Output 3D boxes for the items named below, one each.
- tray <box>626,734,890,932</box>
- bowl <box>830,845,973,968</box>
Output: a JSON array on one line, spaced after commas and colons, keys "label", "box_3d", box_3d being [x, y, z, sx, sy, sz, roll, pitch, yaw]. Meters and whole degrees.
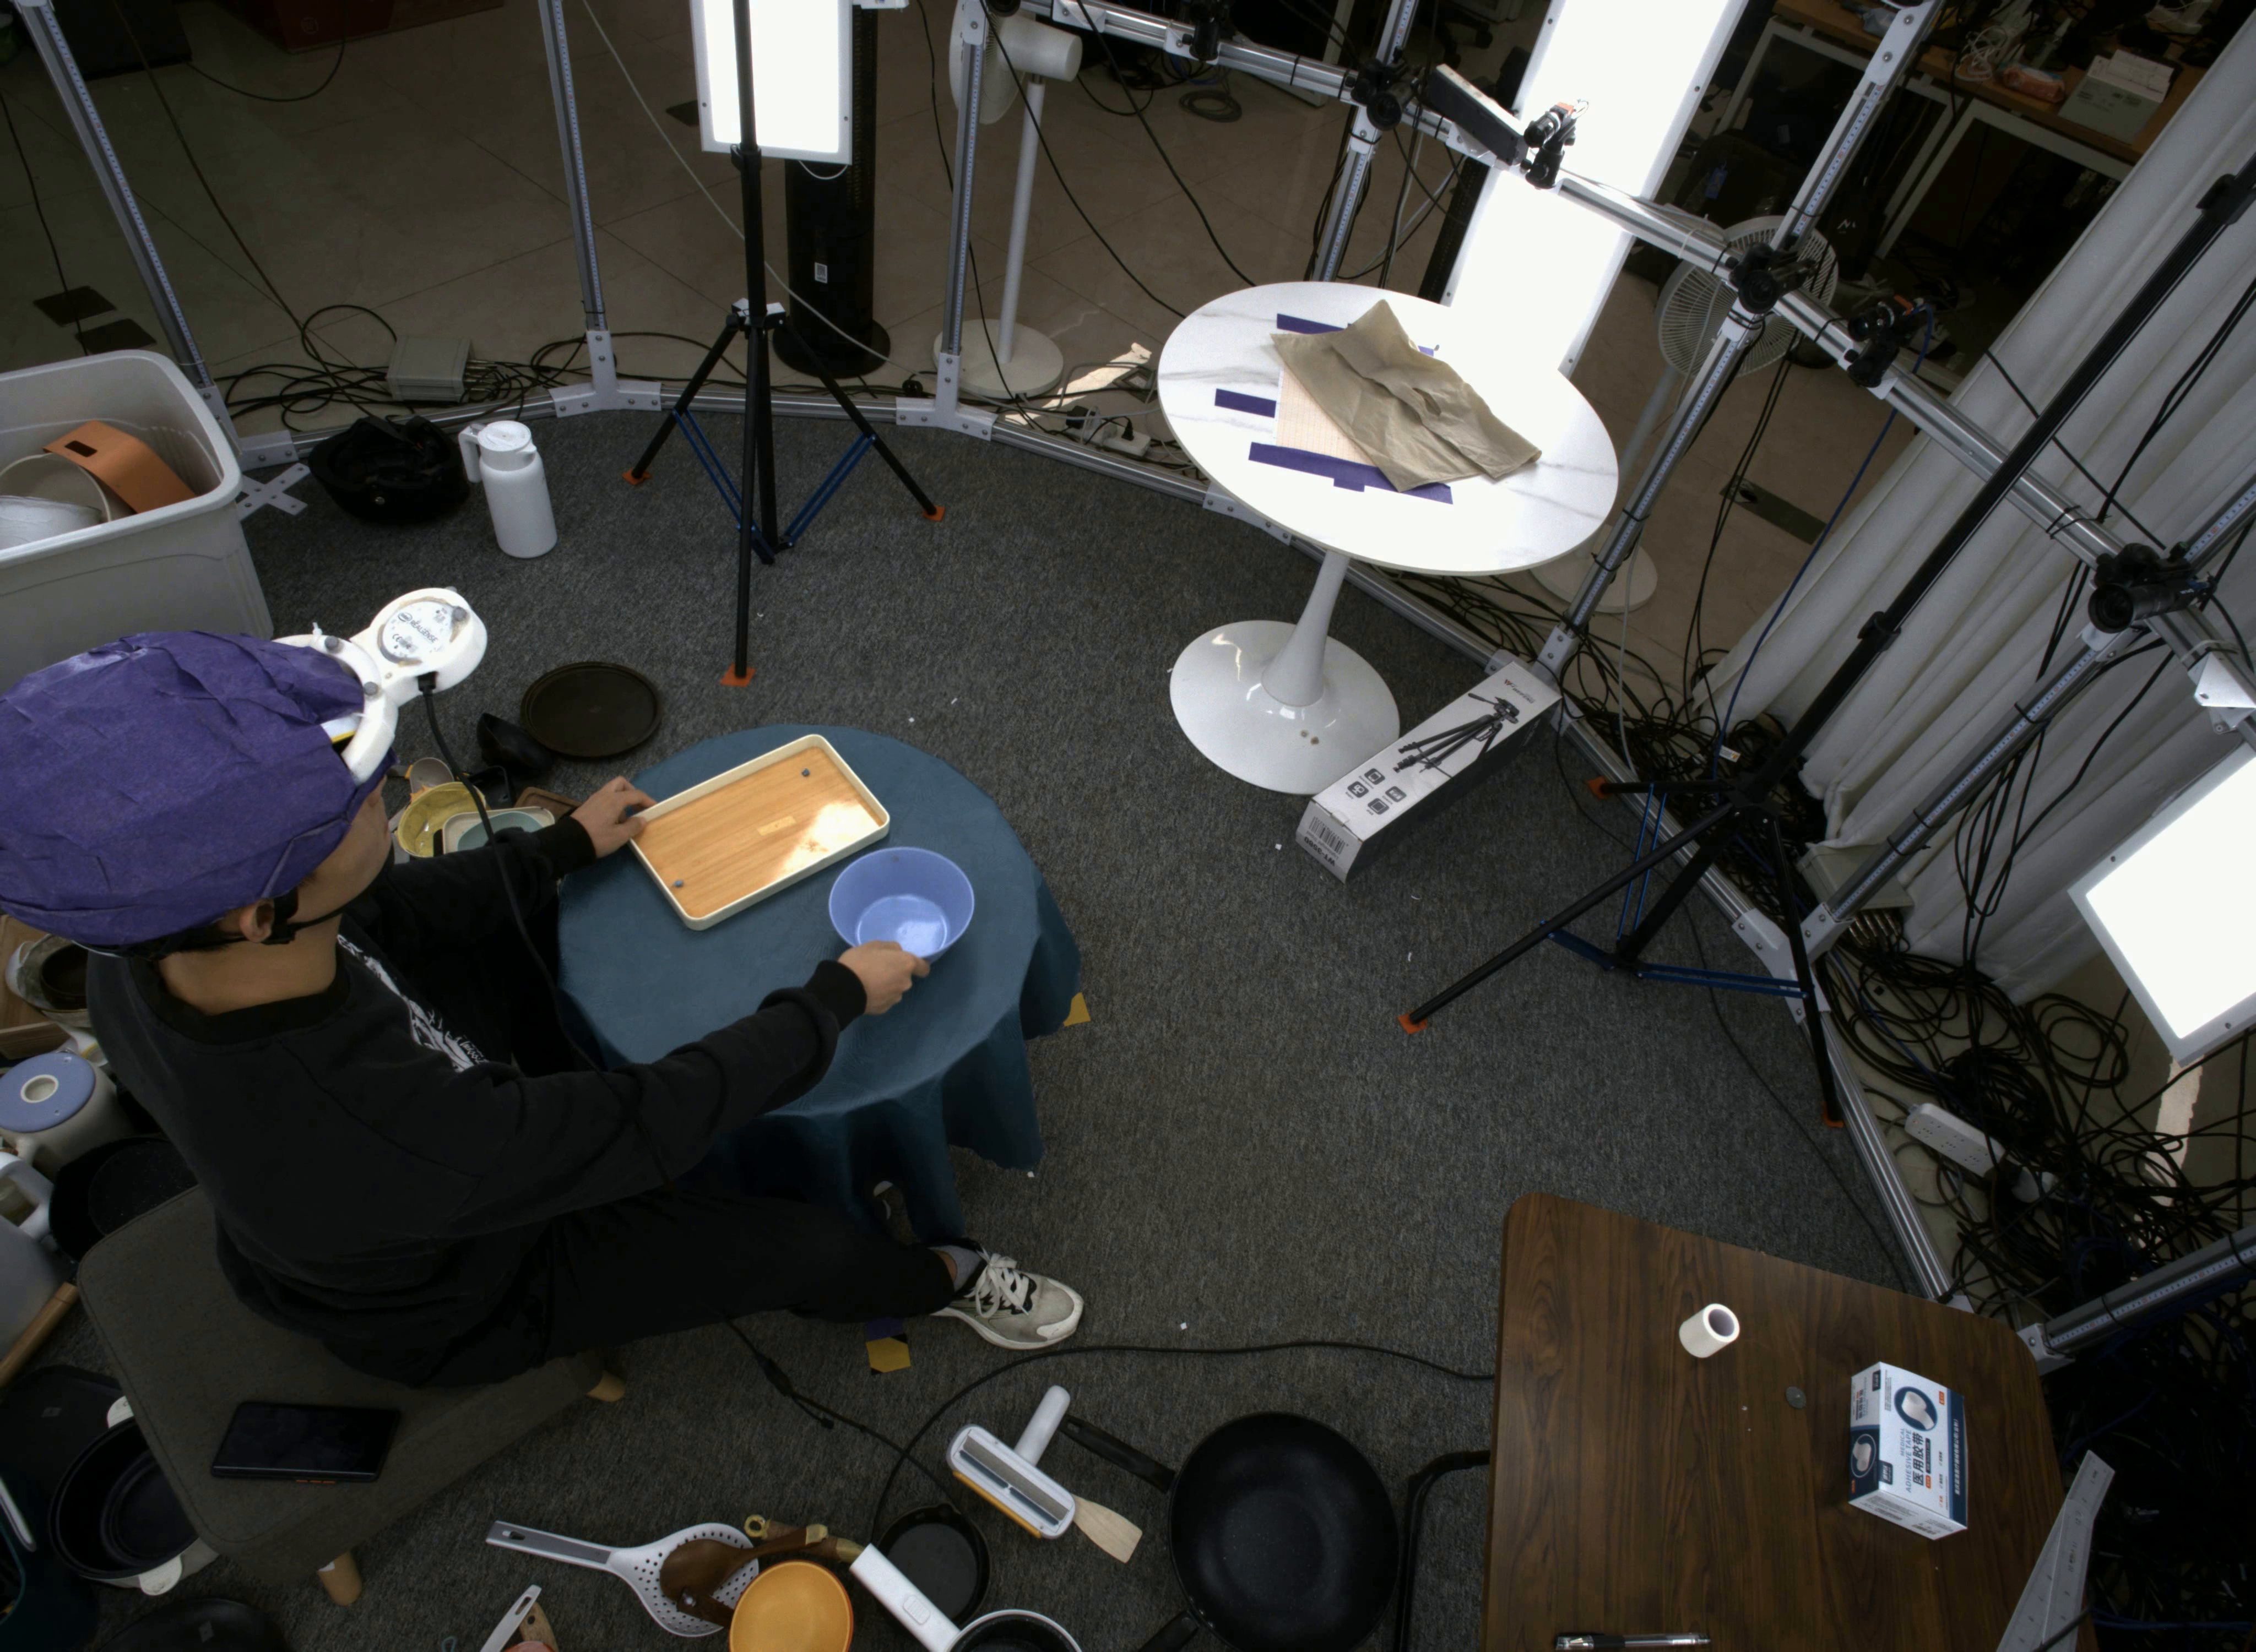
[{"label": "tray", "box_3d": [-0.483, 0.001, 1.696, 0.301, 0.028, 0.187, -30, 65, -31]}, {"label": "bowl", "box_3d": [-0.279, 0.109, 1.617, 0.175, 0.072, 0.172, 6, 47, -5]}]
